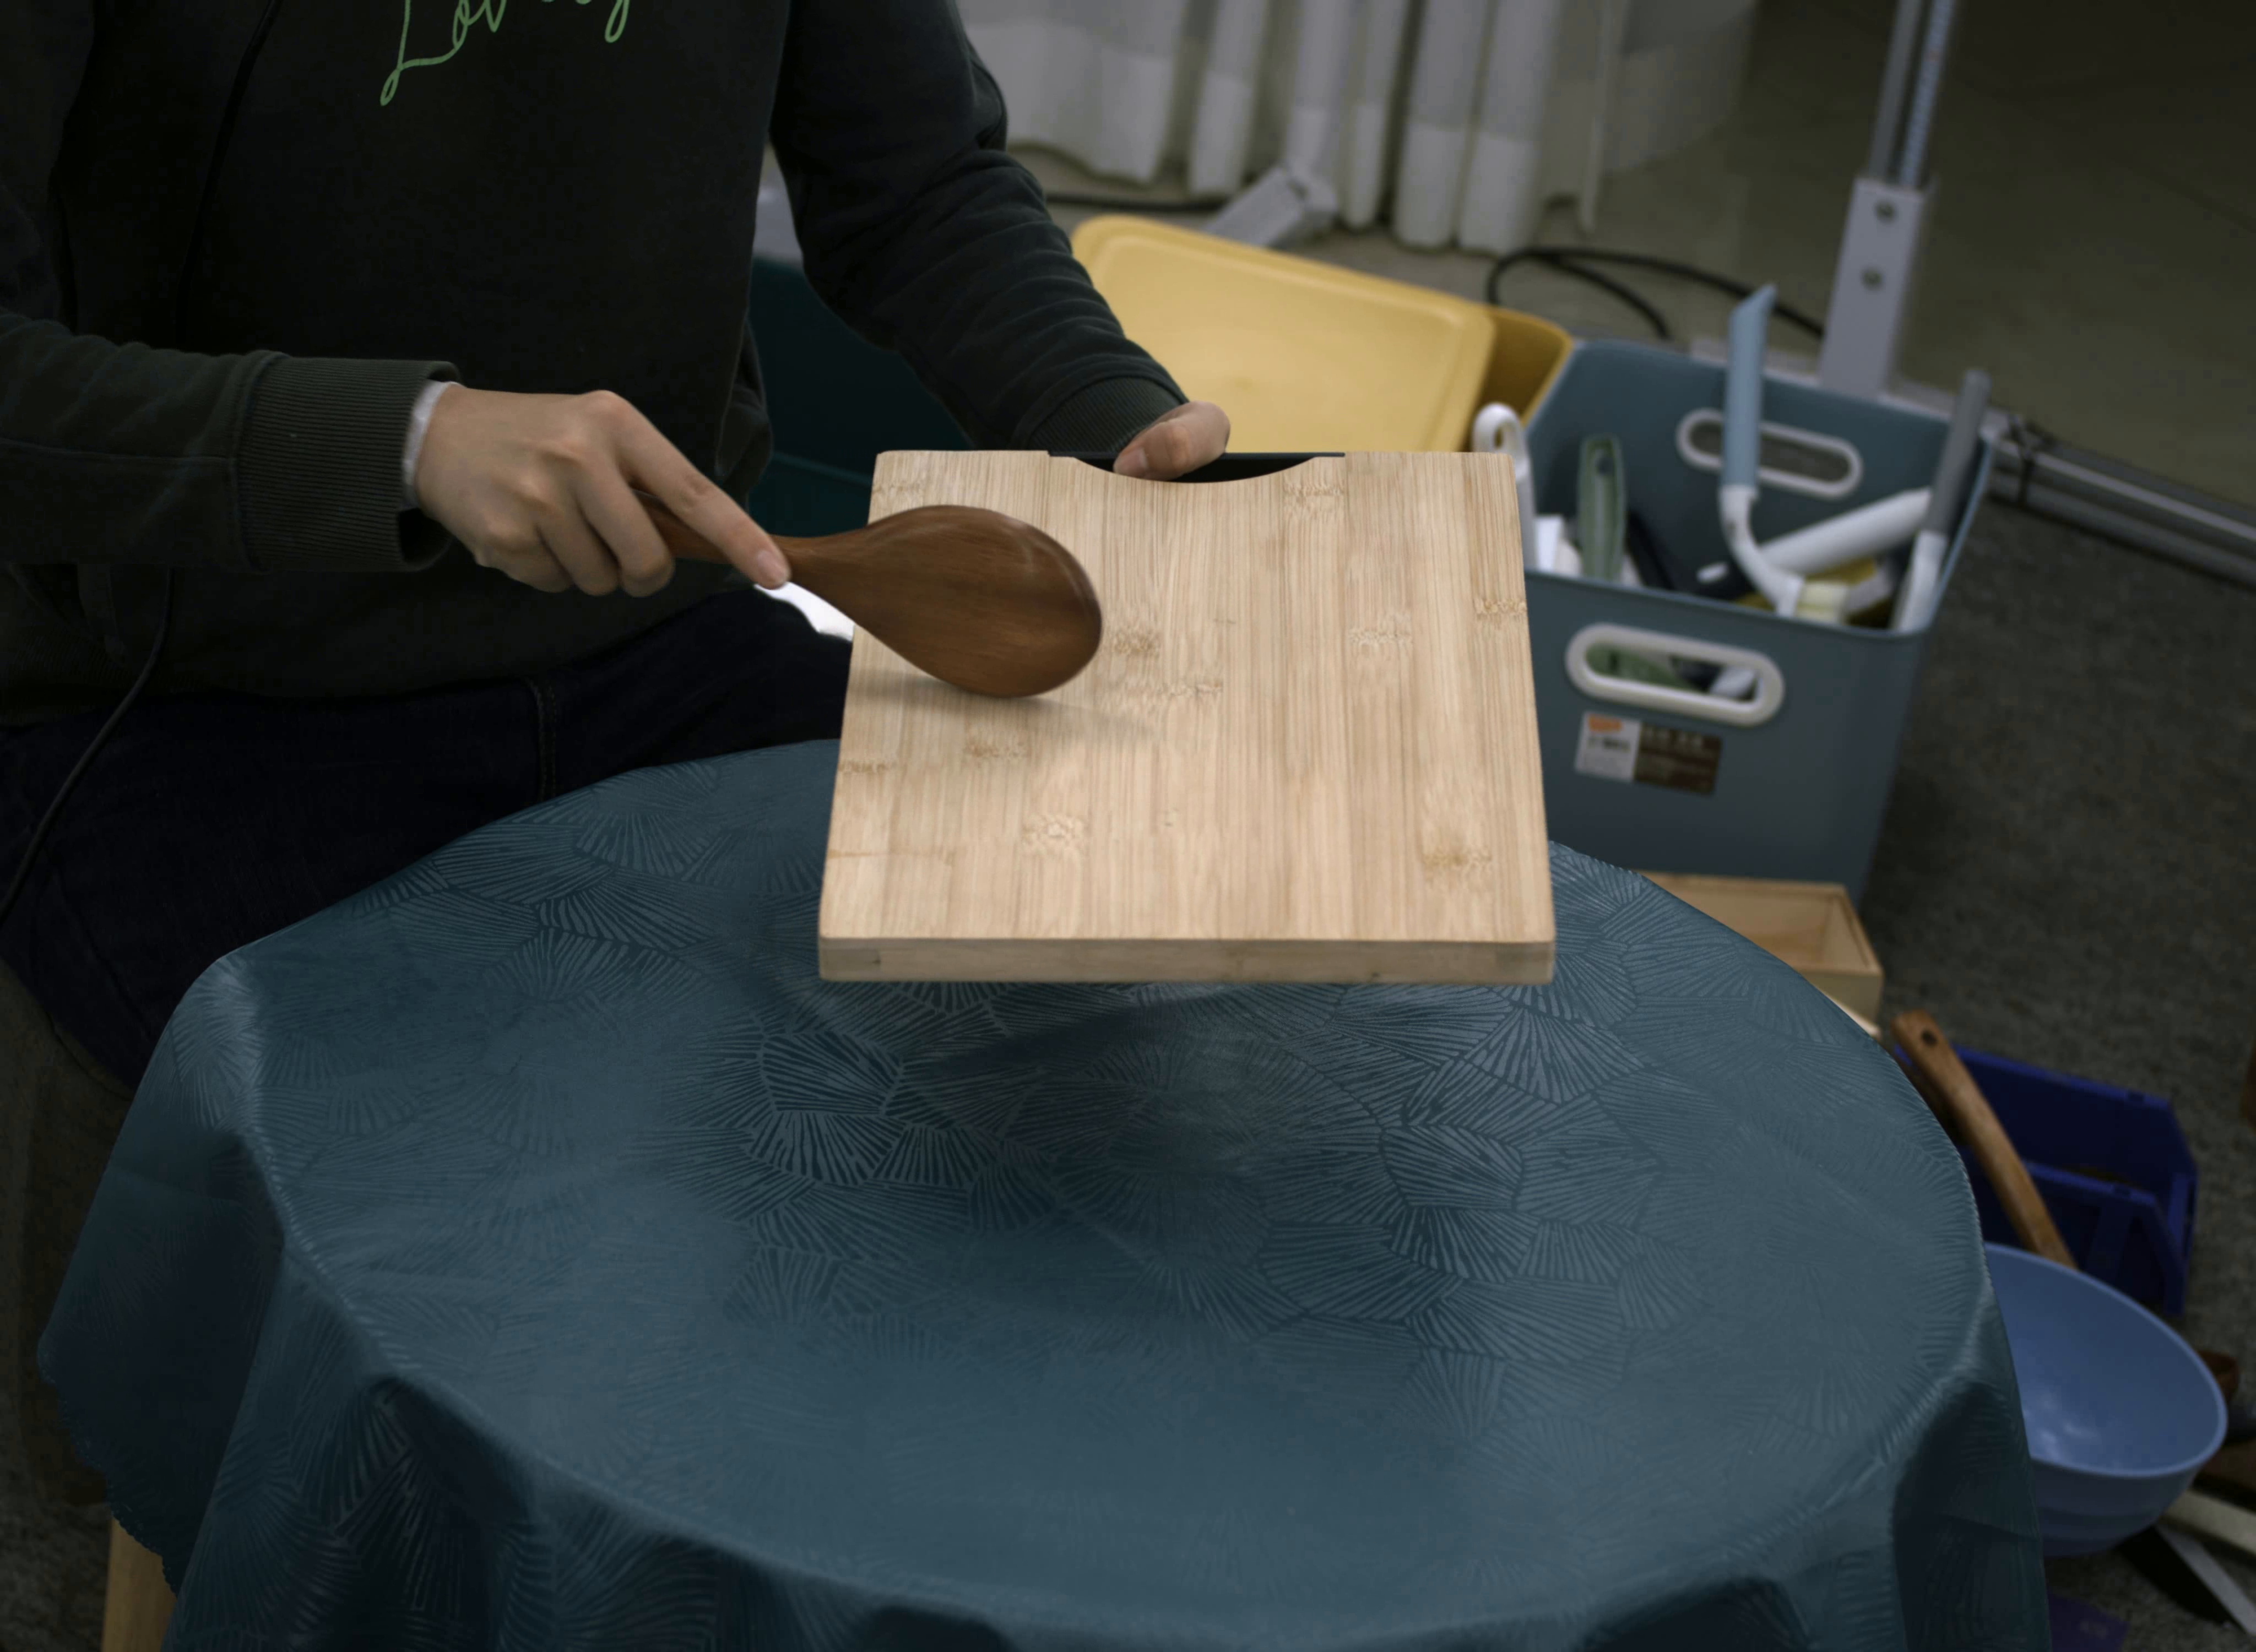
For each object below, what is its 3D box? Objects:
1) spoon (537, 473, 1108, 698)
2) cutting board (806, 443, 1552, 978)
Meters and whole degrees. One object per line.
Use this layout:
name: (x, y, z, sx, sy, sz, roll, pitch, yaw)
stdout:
spoon: (-0.108, -0.089, 1.850, 0.216, 0.075, 0.017, 14, 40, 18)
cutting board: (0.022, -0.047, 1.869, 0.250, 0.023, 0.351, 0, 31, 1)
